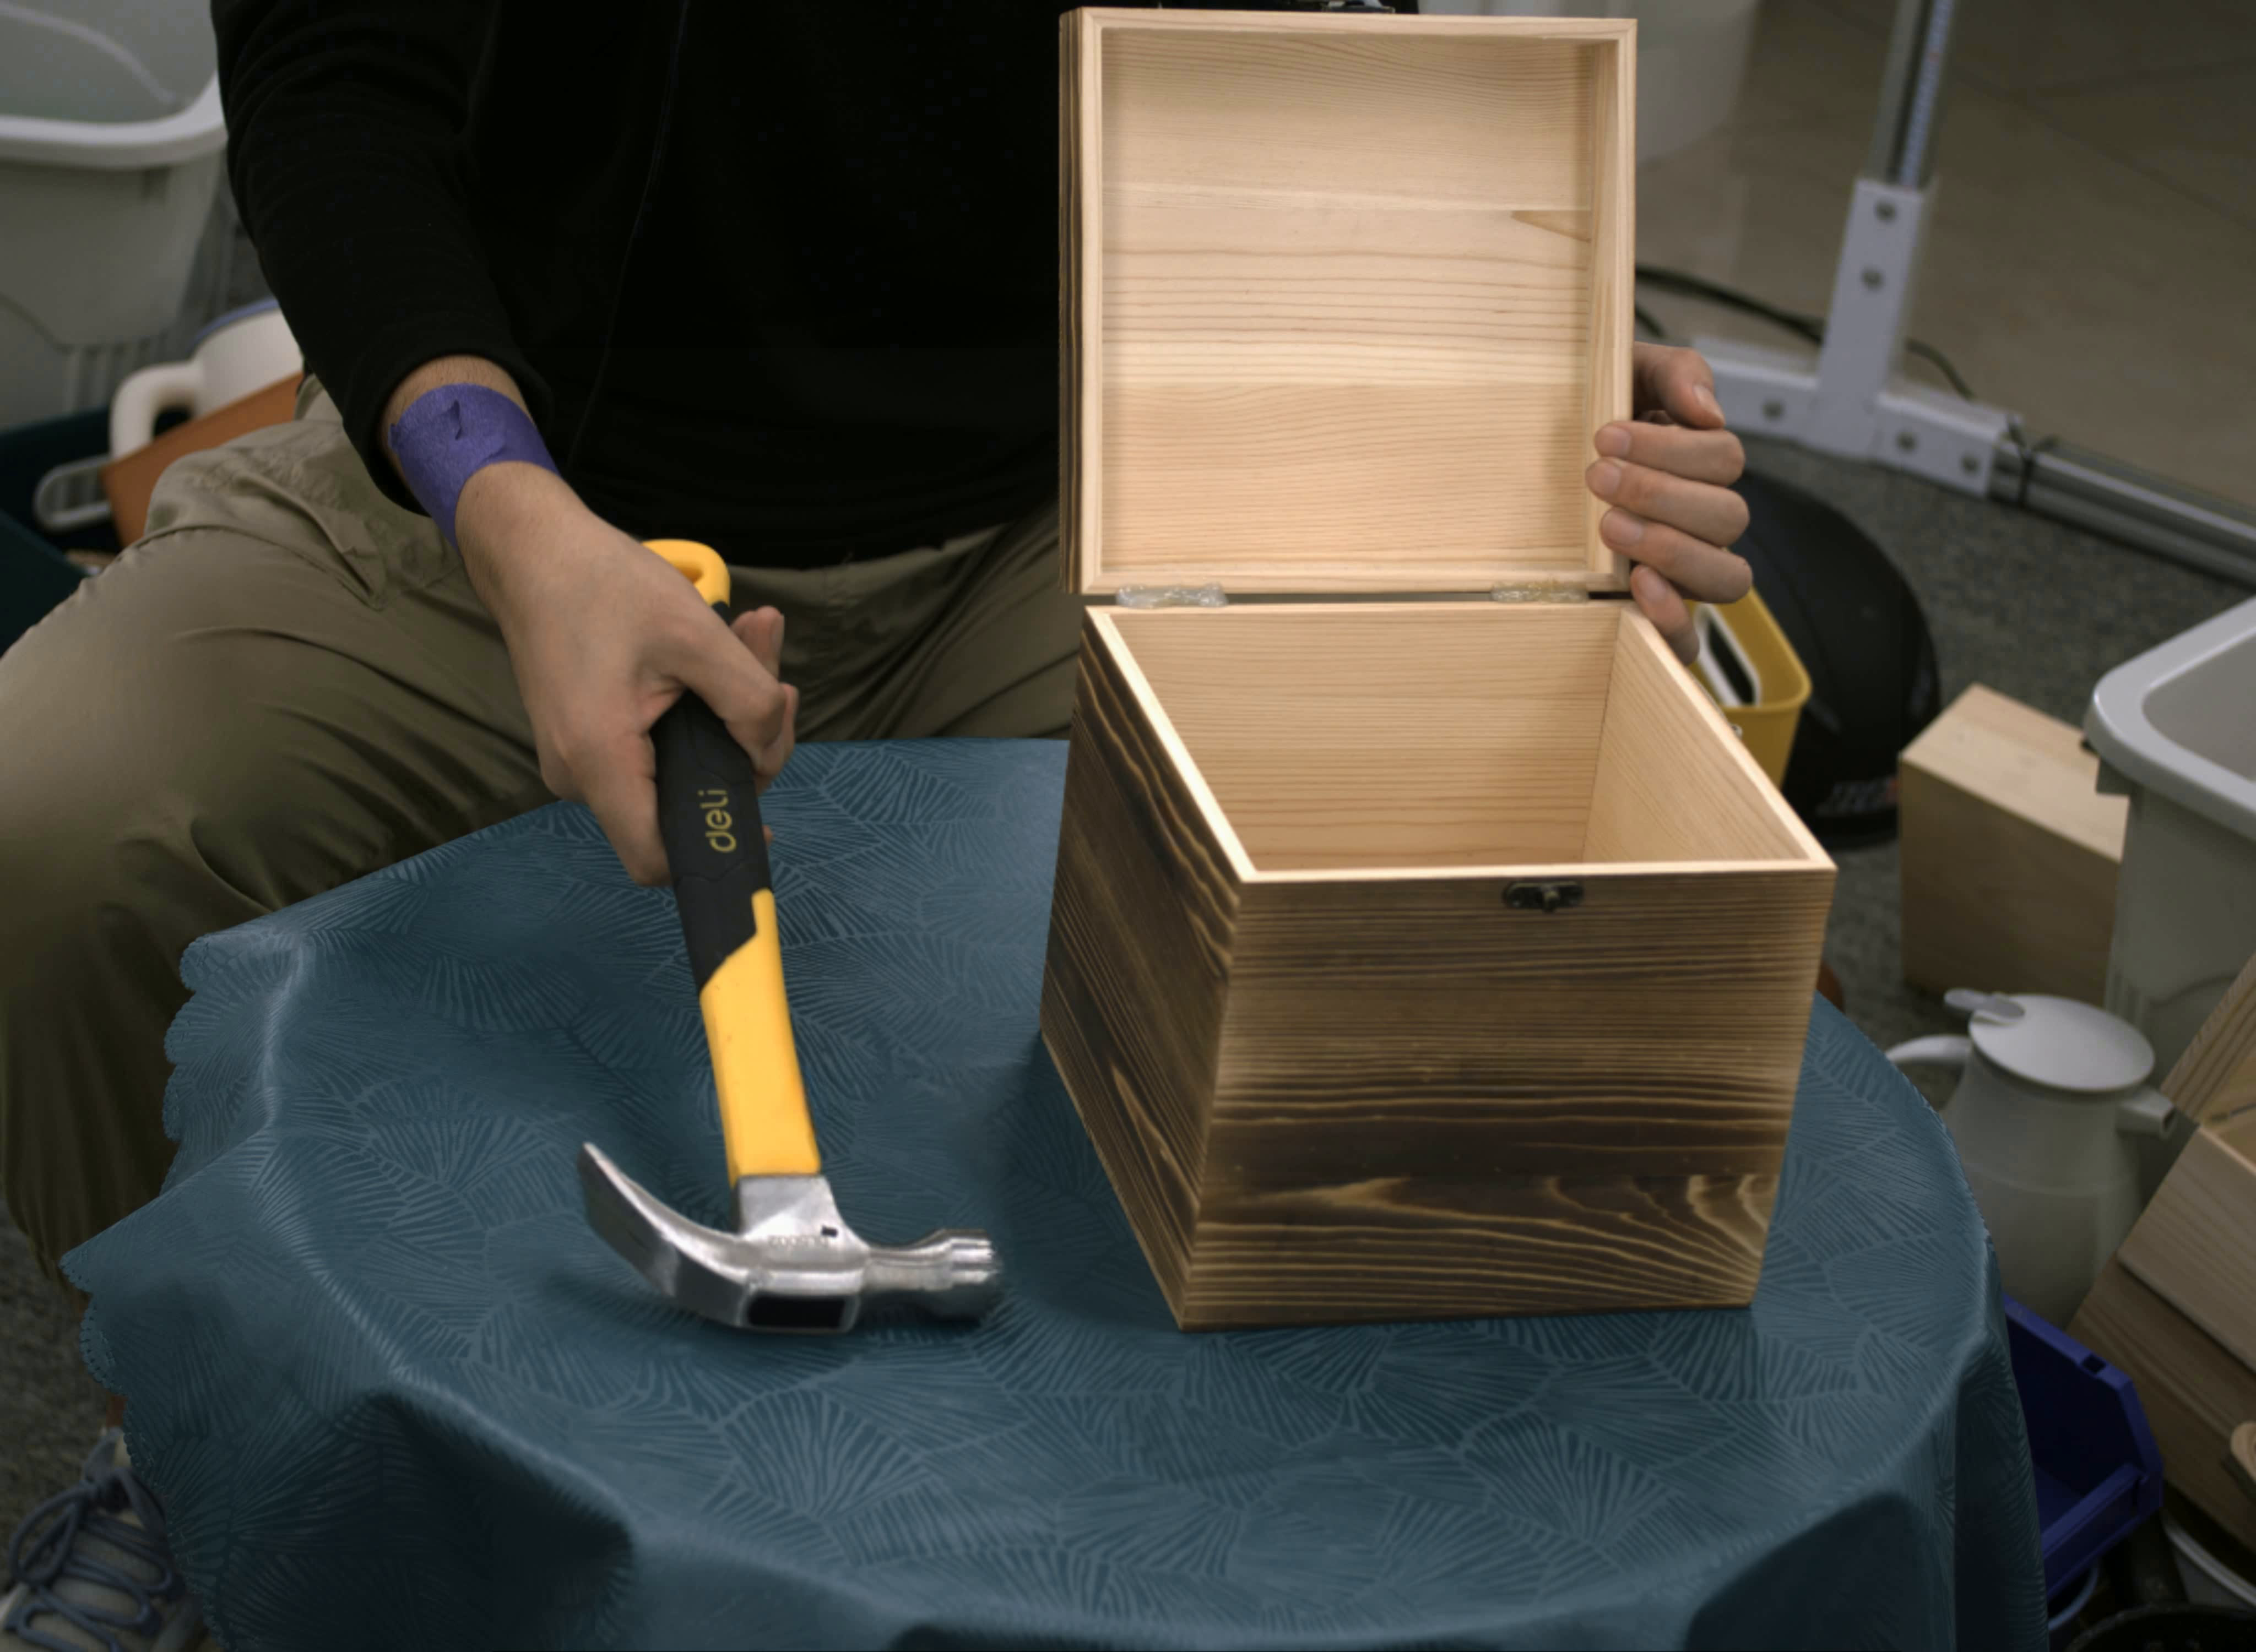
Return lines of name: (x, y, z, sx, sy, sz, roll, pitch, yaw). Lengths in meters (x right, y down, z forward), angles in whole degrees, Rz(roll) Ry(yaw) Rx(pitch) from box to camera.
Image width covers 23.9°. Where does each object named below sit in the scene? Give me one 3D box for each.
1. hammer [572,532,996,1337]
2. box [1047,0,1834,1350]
hammer: (-0.134, 0.028, 1.801, 0.130, 0.032, 0.341, 1, 48, -15)
box: (0.093, -0.064, 1.804, 0.207, 0.374, 0.325, -2, 27, -15)
